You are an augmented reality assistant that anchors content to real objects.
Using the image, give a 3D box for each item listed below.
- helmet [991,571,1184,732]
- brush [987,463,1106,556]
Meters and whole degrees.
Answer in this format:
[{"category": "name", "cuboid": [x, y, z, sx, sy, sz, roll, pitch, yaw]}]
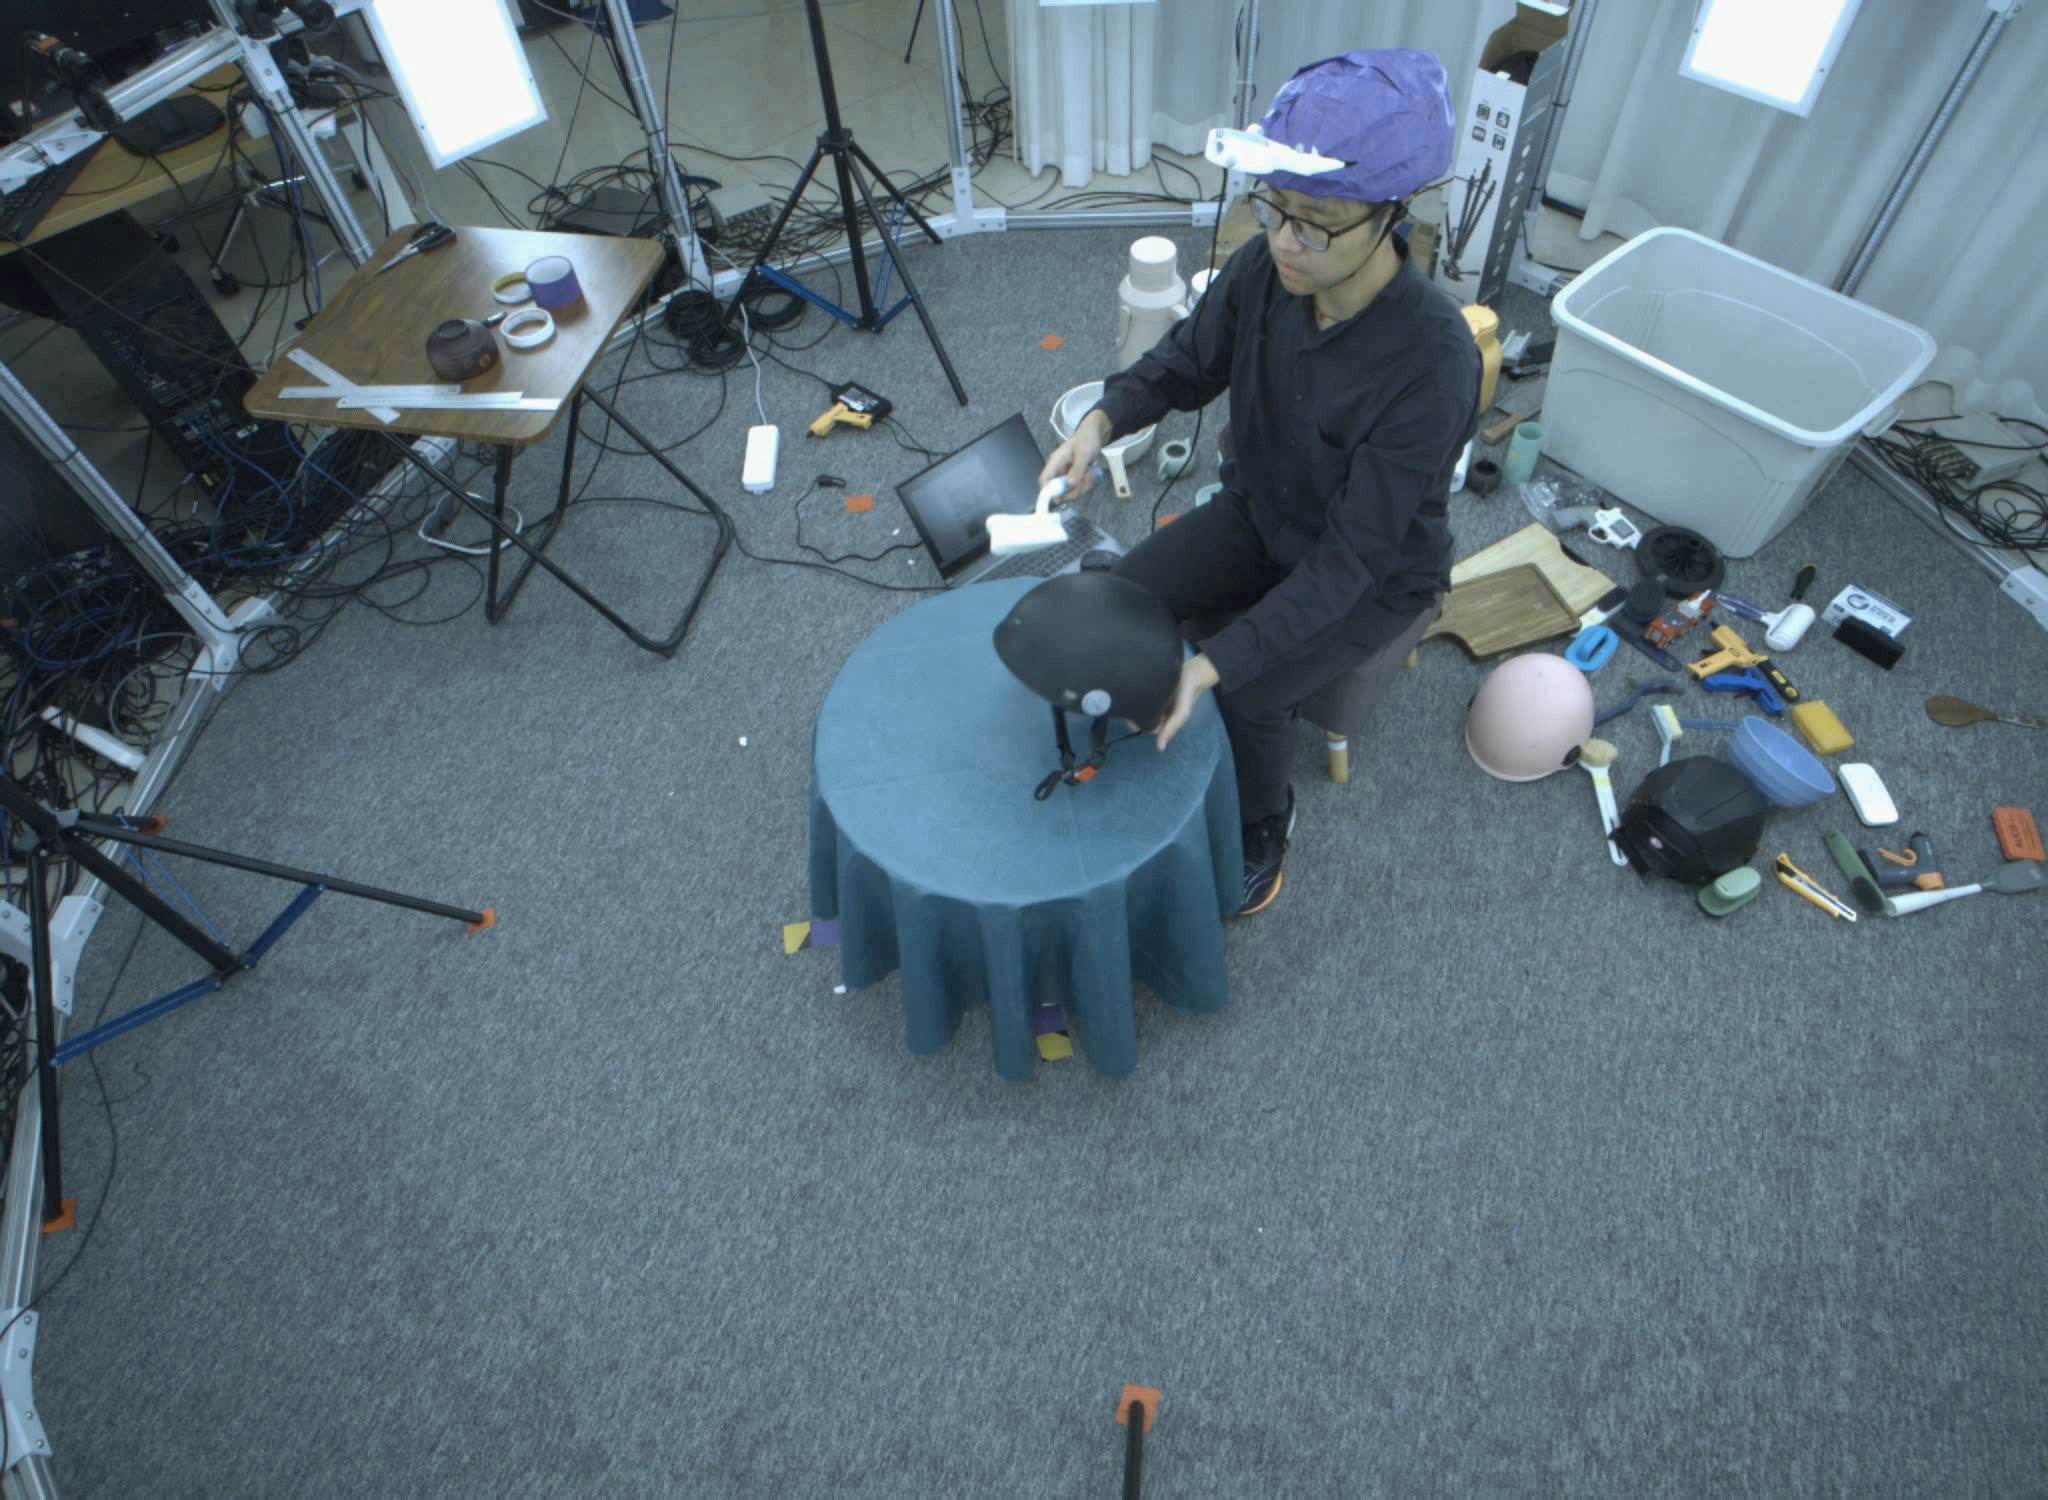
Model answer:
[{"category": "helmet", "cuboid": [0.106, -0.149, 1.657, 0.279, 0.166, 0.225, 18, 32, -36]}, {"category": "brush", "cuboid": [0.053, -0.333, 1.747, 0.082, 0.085, 0.328, 22, 34, 22]}]
